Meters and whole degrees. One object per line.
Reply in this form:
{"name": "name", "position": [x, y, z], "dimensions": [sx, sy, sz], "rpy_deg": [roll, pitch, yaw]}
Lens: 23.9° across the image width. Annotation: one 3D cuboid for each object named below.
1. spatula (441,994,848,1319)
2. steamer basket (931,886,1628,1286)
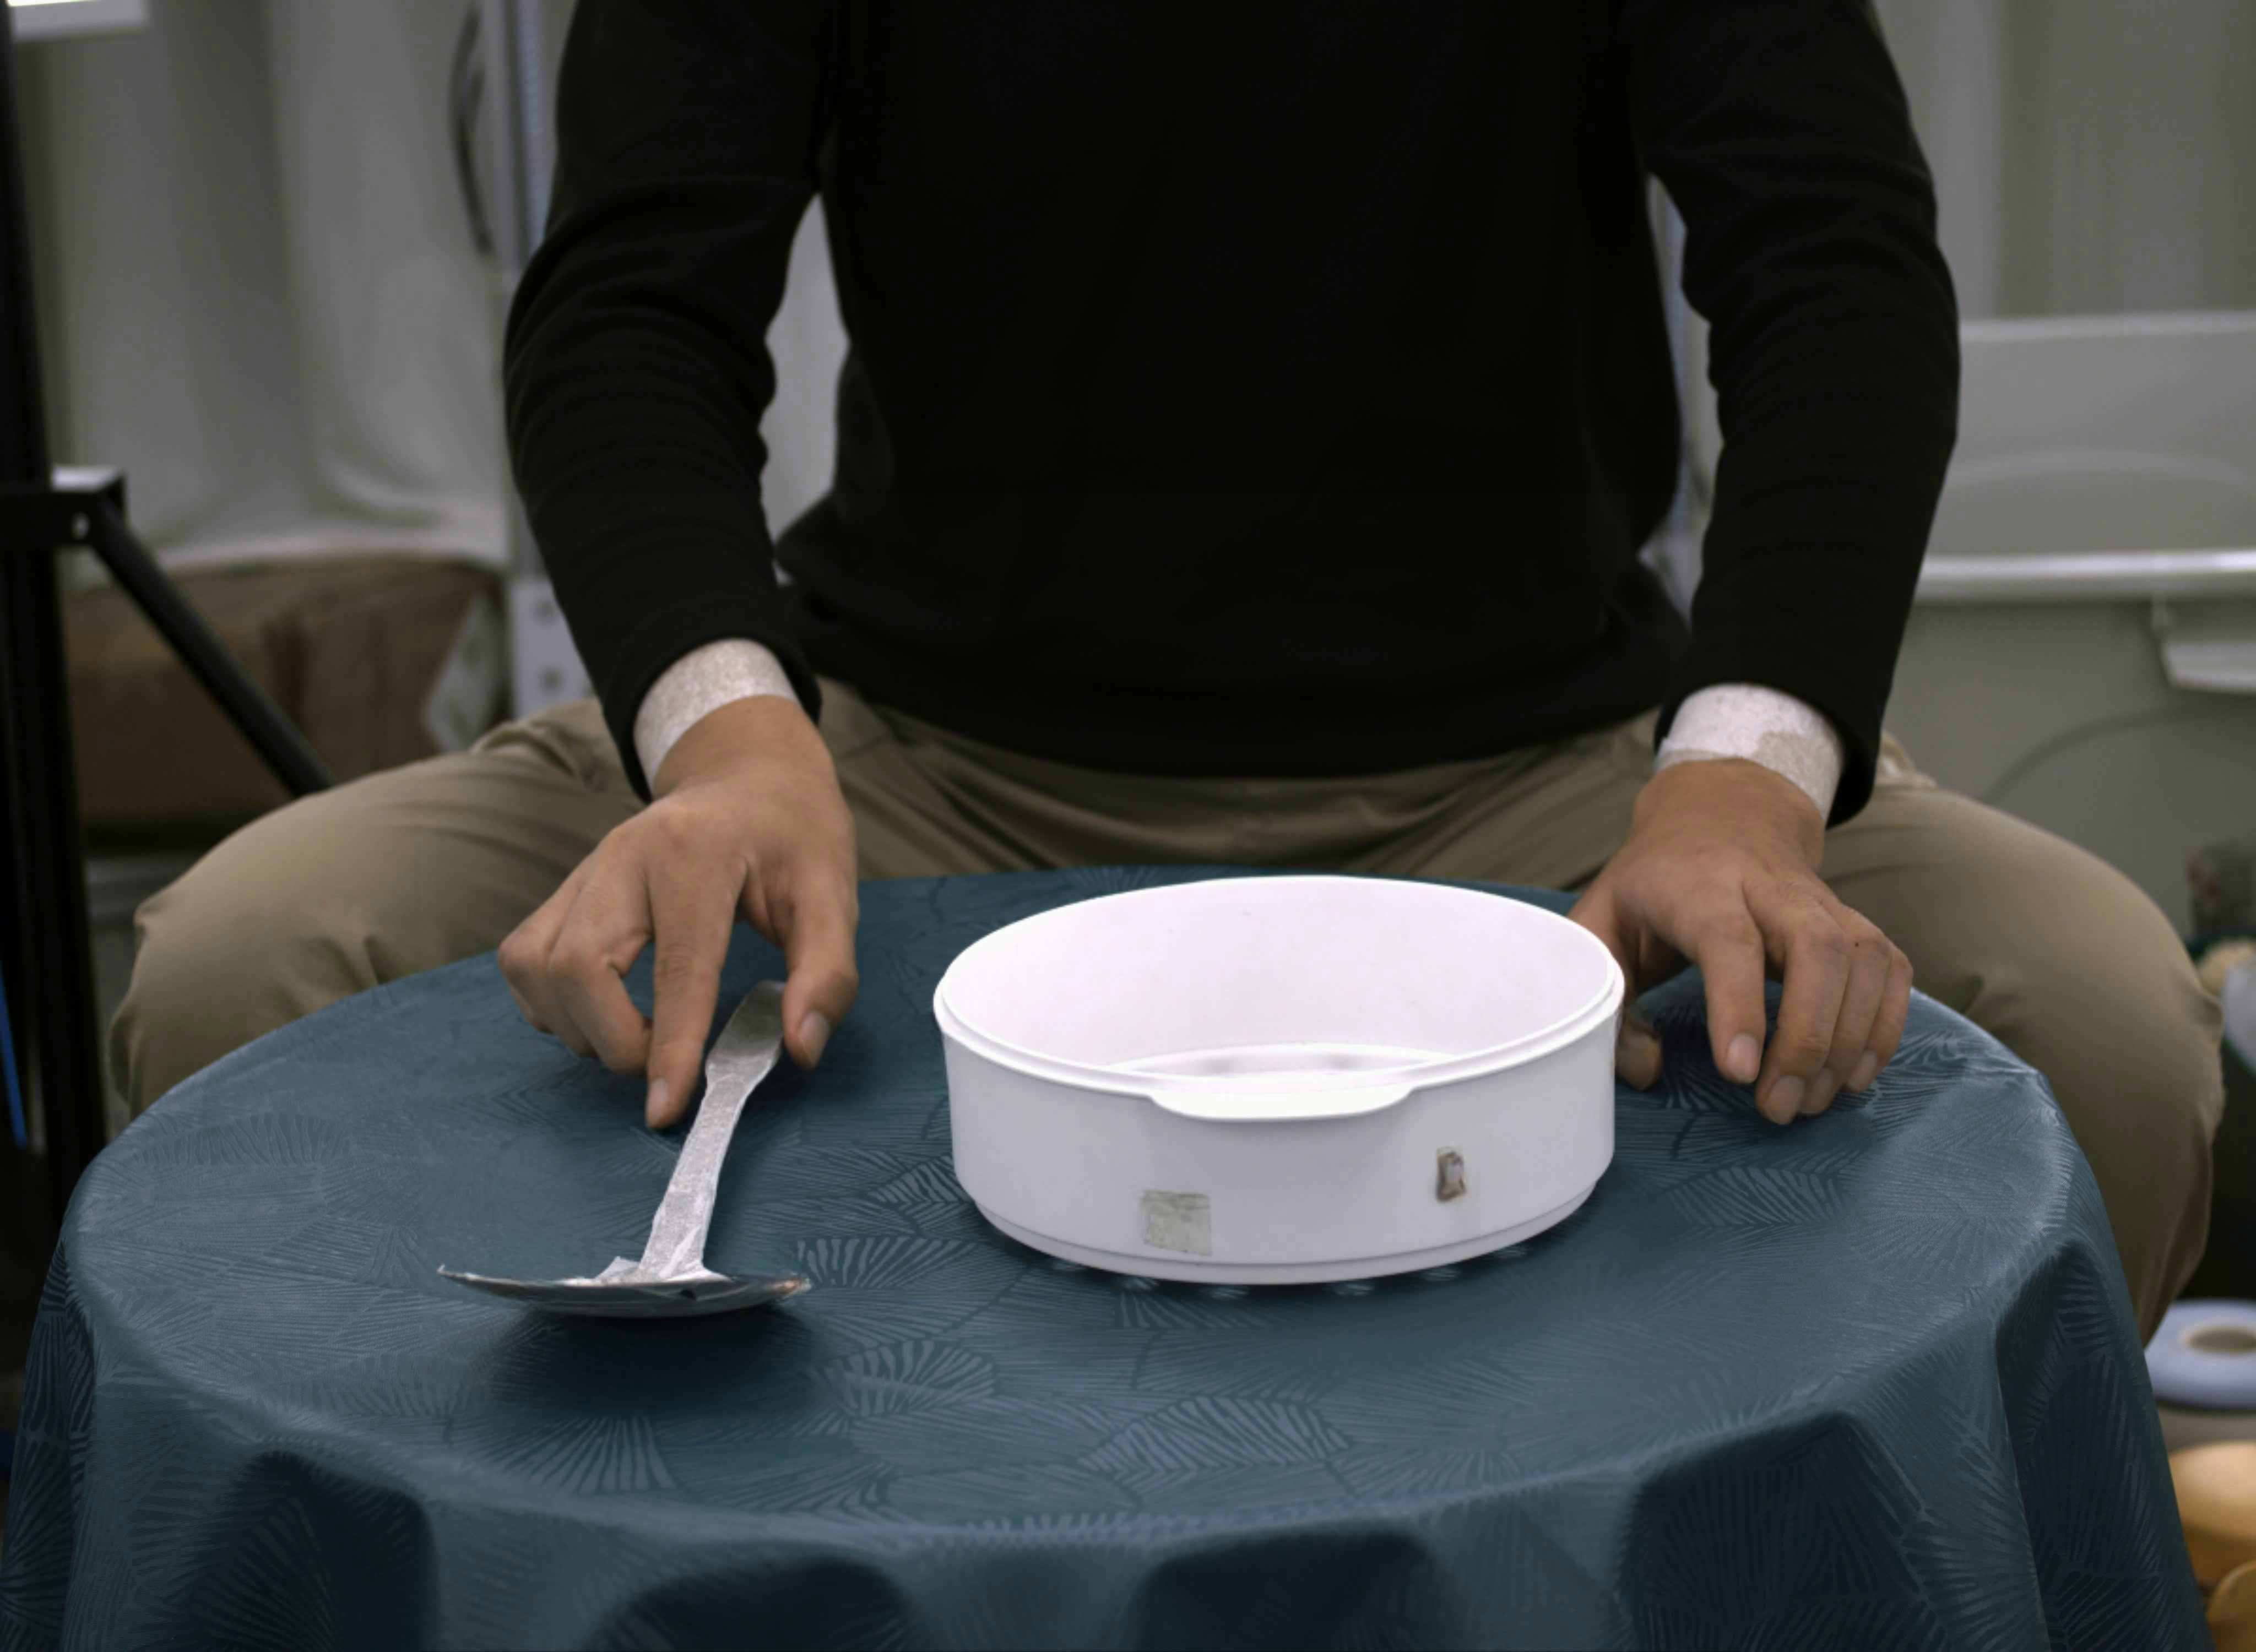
{"name": "spatula", "position": [-0.120, 0.089, 1.577], "dimensions": [0.099, 0.045, 0.365], "rpy_deg": [-3, 16, 6]}
{"name": "steamer basket", "position": [0.044, 0.075, 1.540], "dimensions": [0.201, 0.069, 0.231], "rpy_deg": [-1, 15, 3]}
